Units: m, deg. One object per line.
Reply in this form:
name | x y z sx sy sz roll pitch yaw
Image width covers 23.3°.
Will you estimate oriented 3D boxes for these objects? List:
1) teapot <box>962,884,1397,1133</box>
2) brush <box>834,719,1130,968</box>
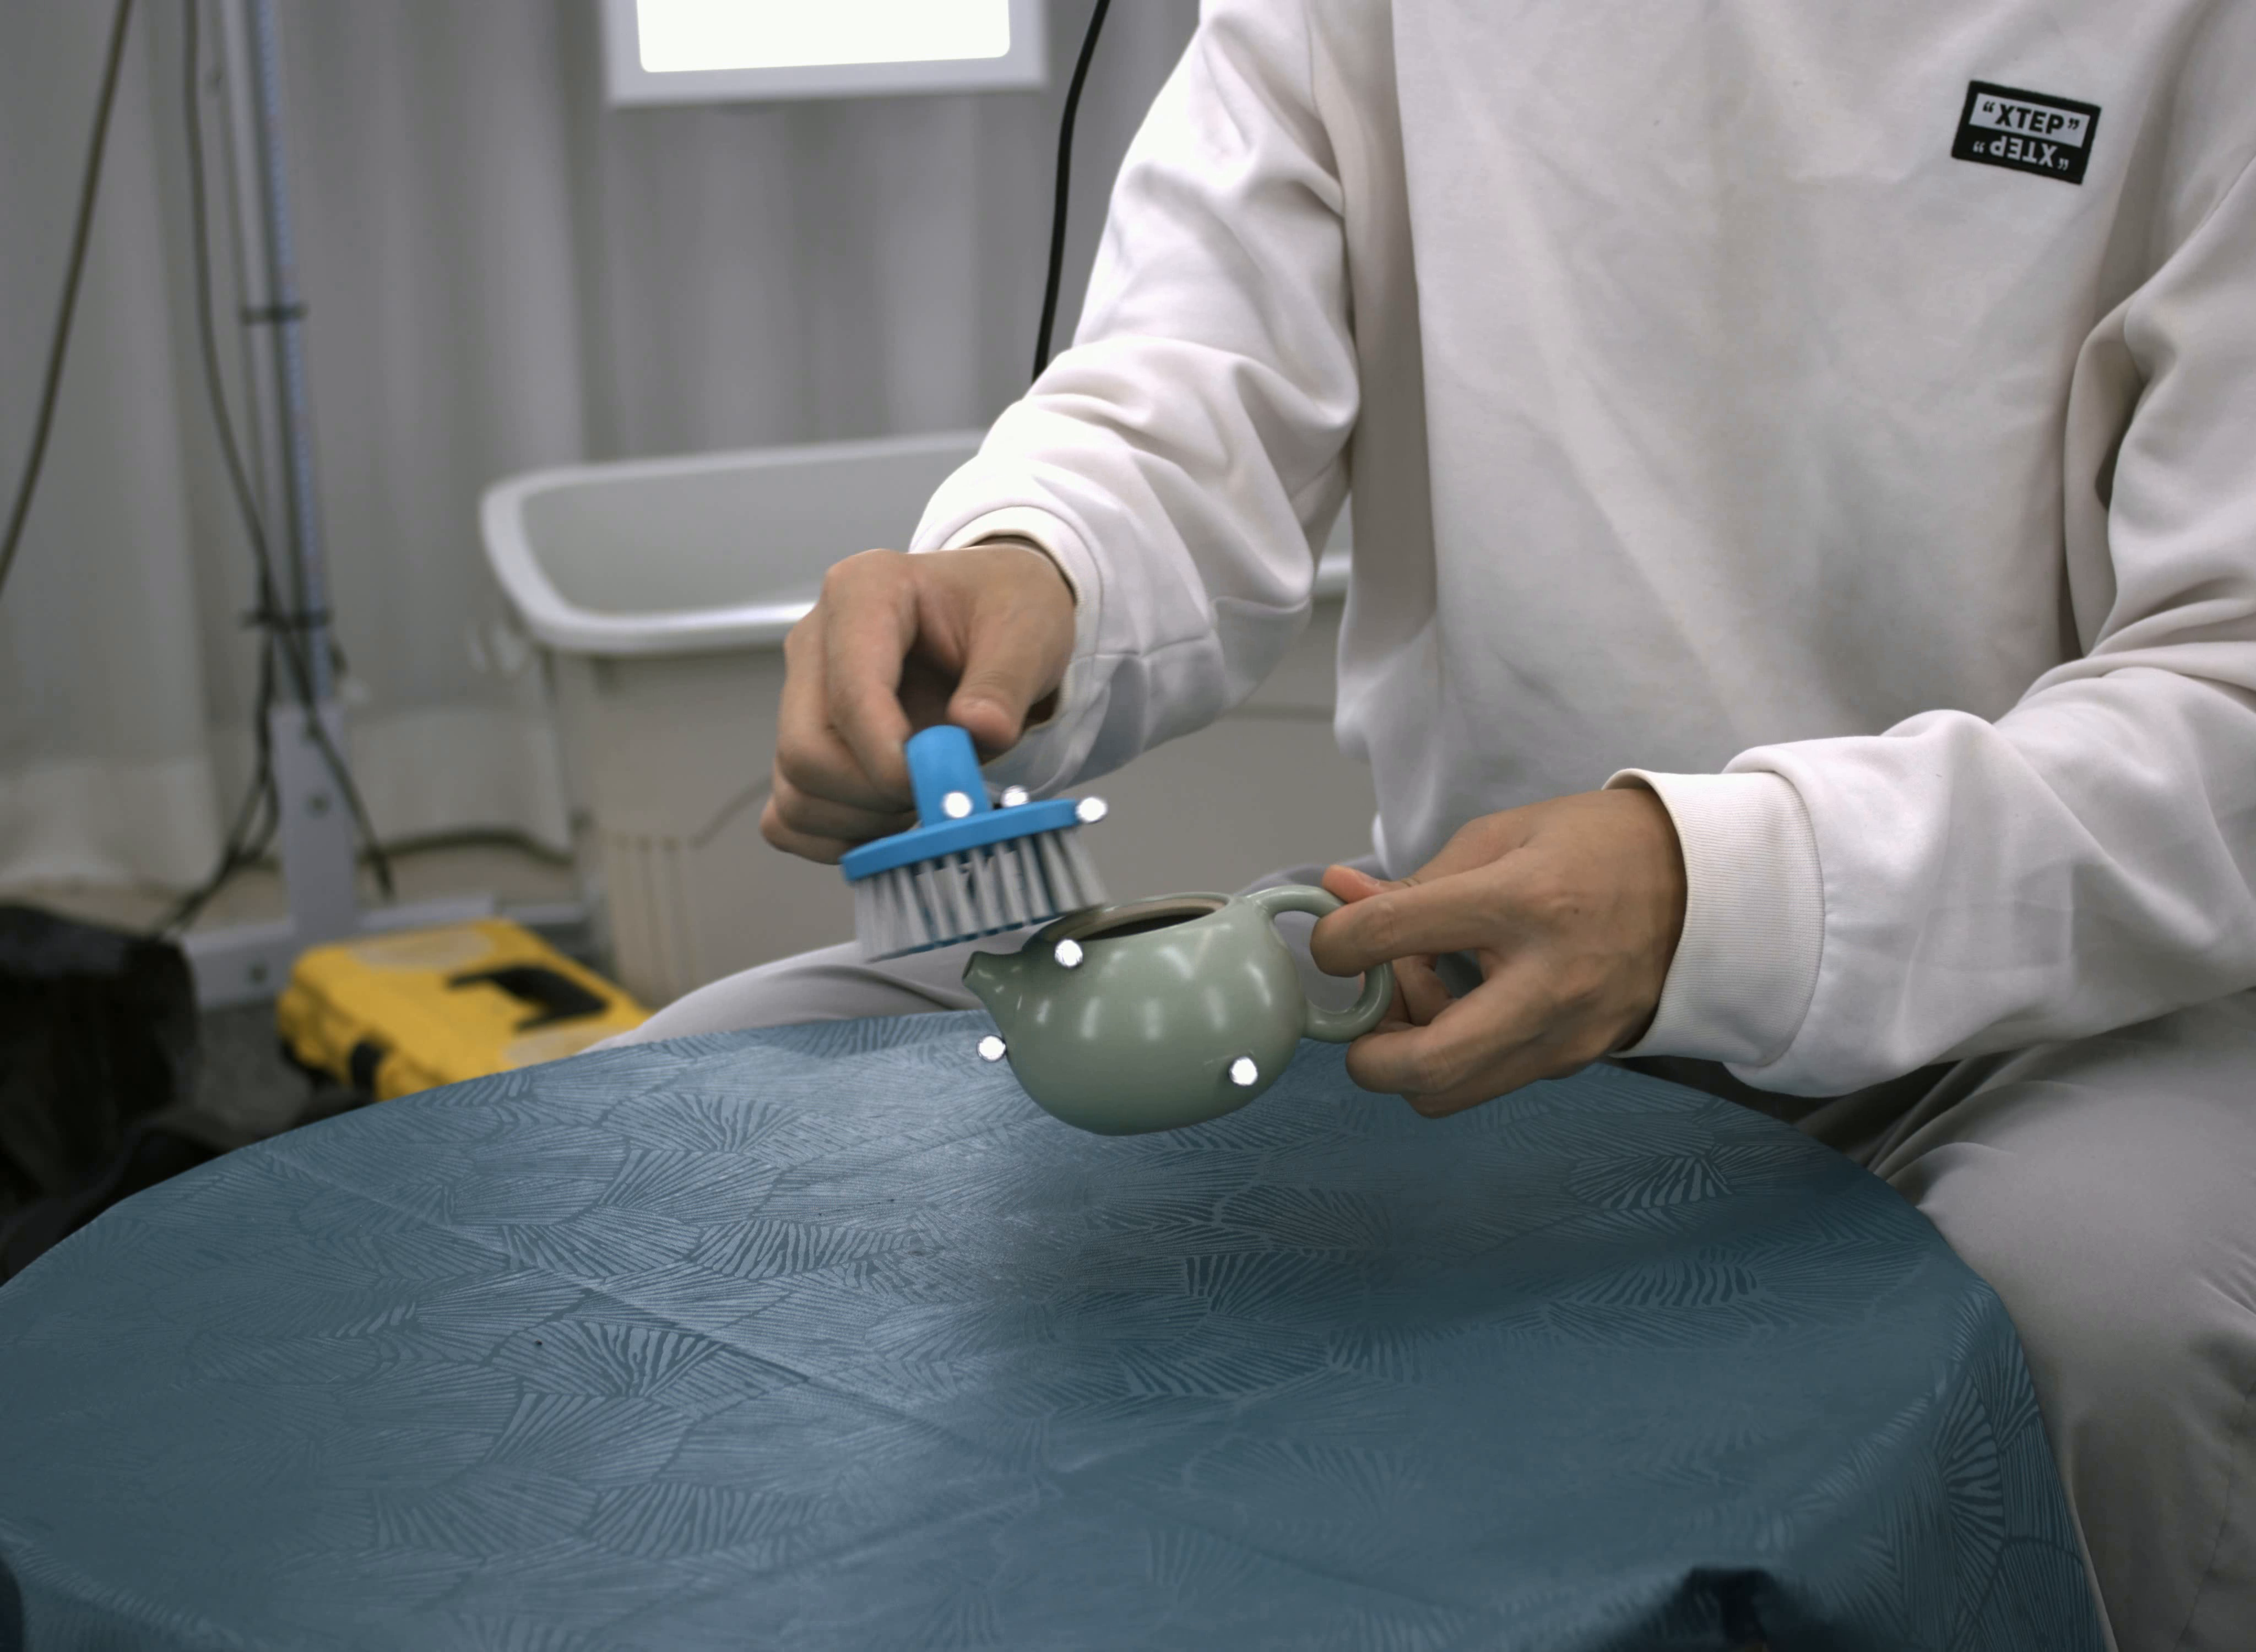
teapot | 0.017 0.054 1.628 0.128 0.061 0.092 -11 6 -4
brush | -0.048 0.001 1.640 0.084 0.064 0.141 -19 -2 -1
